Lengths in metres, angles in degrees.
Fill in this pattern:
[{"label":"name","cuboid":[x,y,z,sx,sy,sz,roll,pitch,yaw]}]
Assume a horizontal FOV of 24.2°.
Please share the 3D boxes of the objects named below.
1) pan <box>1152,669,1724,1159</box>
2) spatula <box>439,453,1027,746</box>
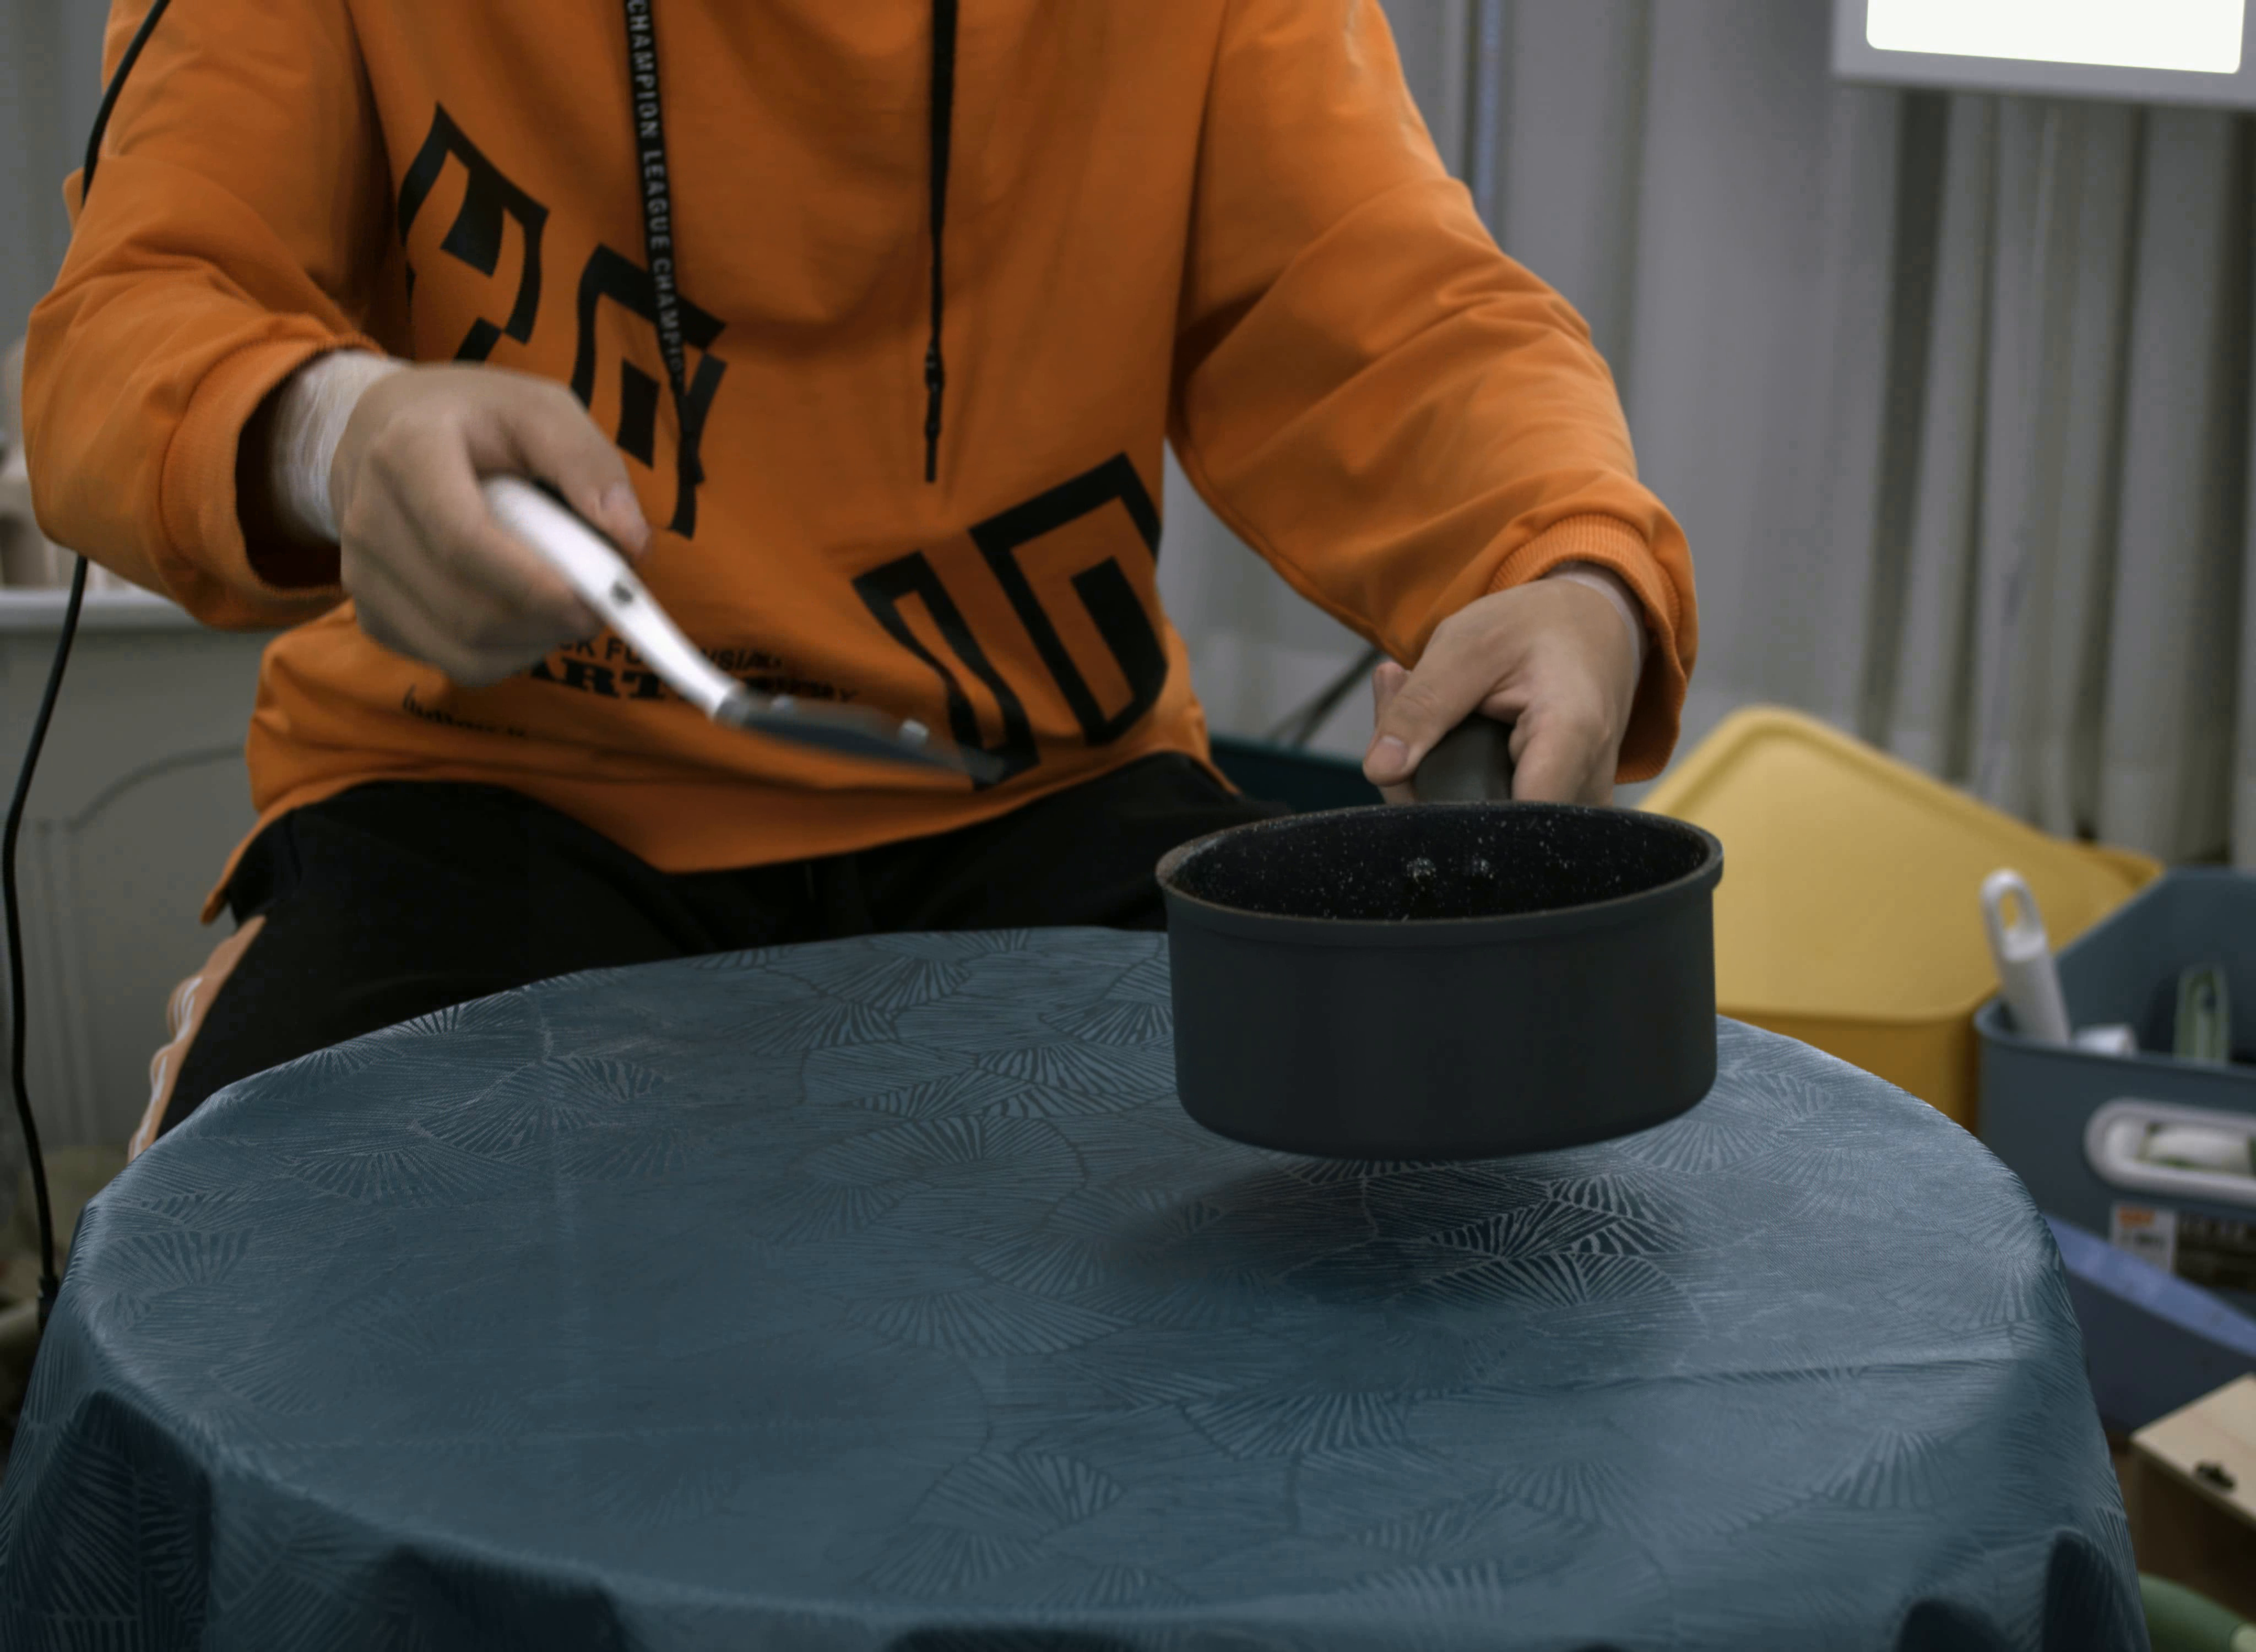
[{"label":"pan","cuboid":[0.105,0.024,1.655,0.171,0.087,0.328,0,13,8]},{"label":"spatula","cuboid":[-0.127,-0.062,1.568,0.059,0.032,0.283,27,0,-39]}]
